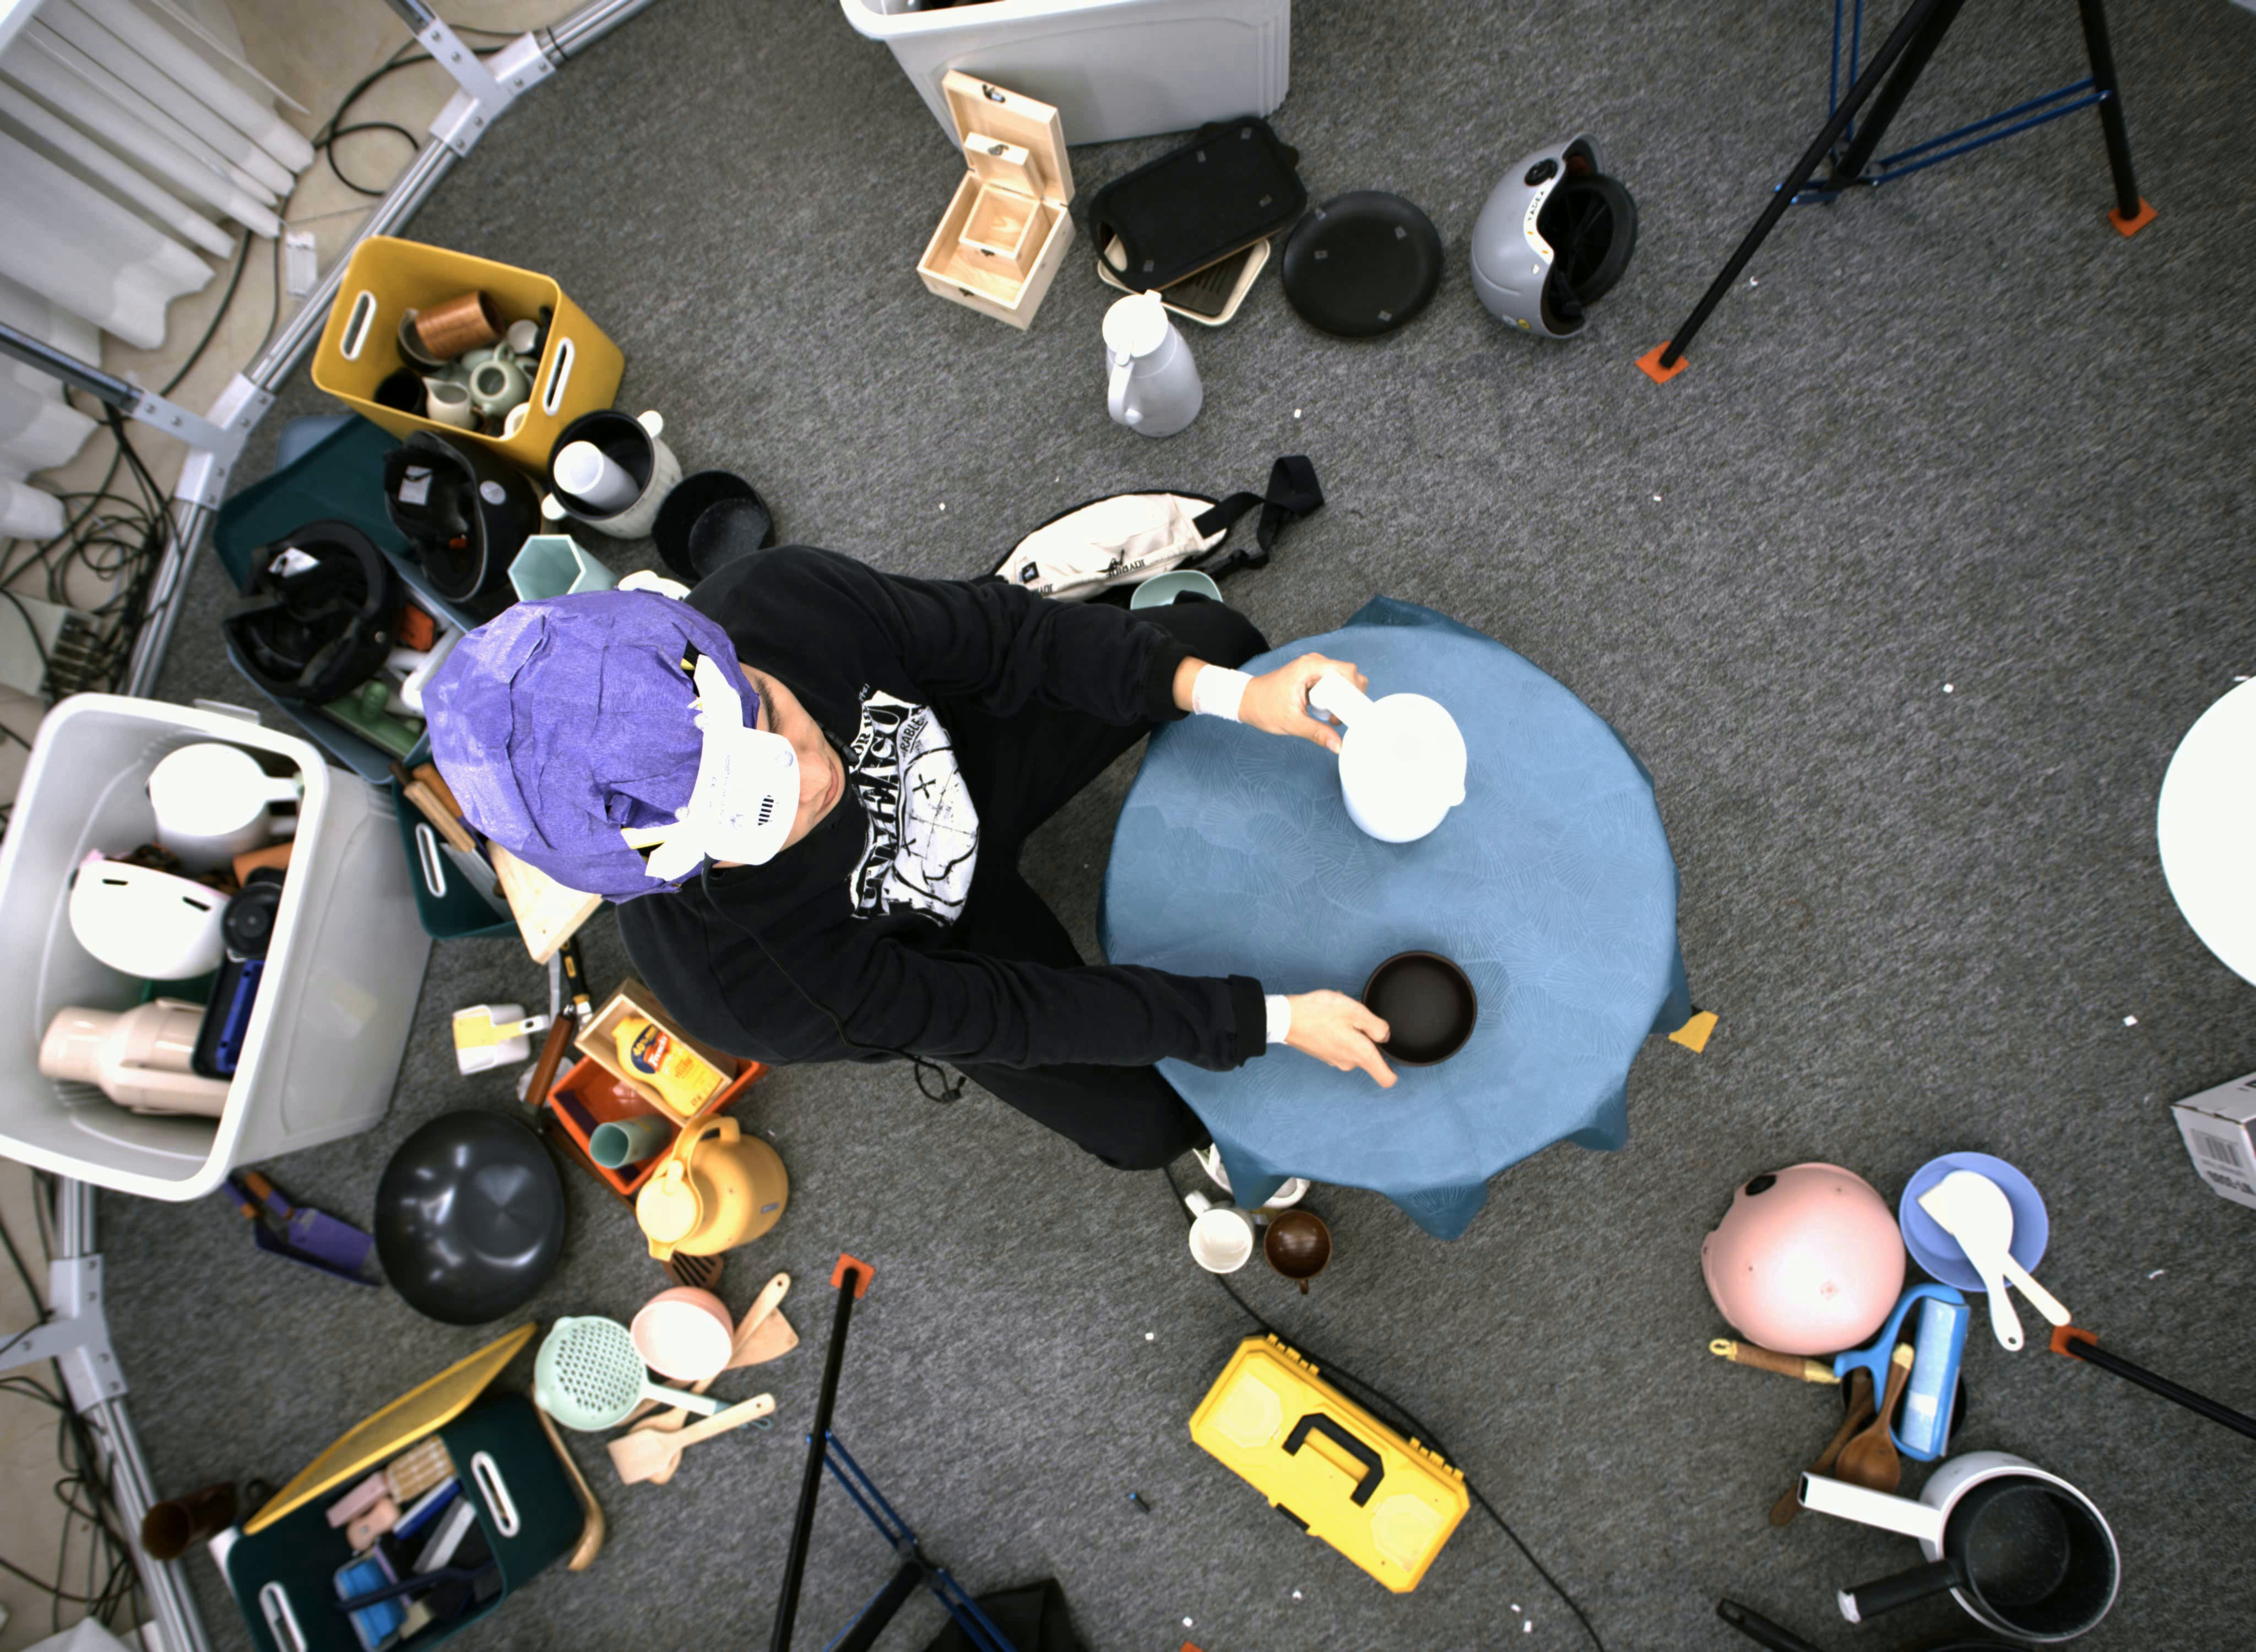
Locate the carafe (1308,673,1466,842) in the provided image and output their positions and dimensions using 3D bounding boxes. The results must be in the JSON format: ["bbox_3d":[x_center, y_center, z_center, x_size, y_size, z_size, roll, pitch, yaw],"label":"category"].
[{"bbox_3d":[0.249,-0.065,1.336,0.172,0.269,0.124,41,95,11],"label":"carafe"}]

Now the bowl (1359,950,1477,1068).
[{"bbox_3d":[0.296,0.183,1.411,0.118,0.069,0.118,0,90,13],"label":"bowl"}]
